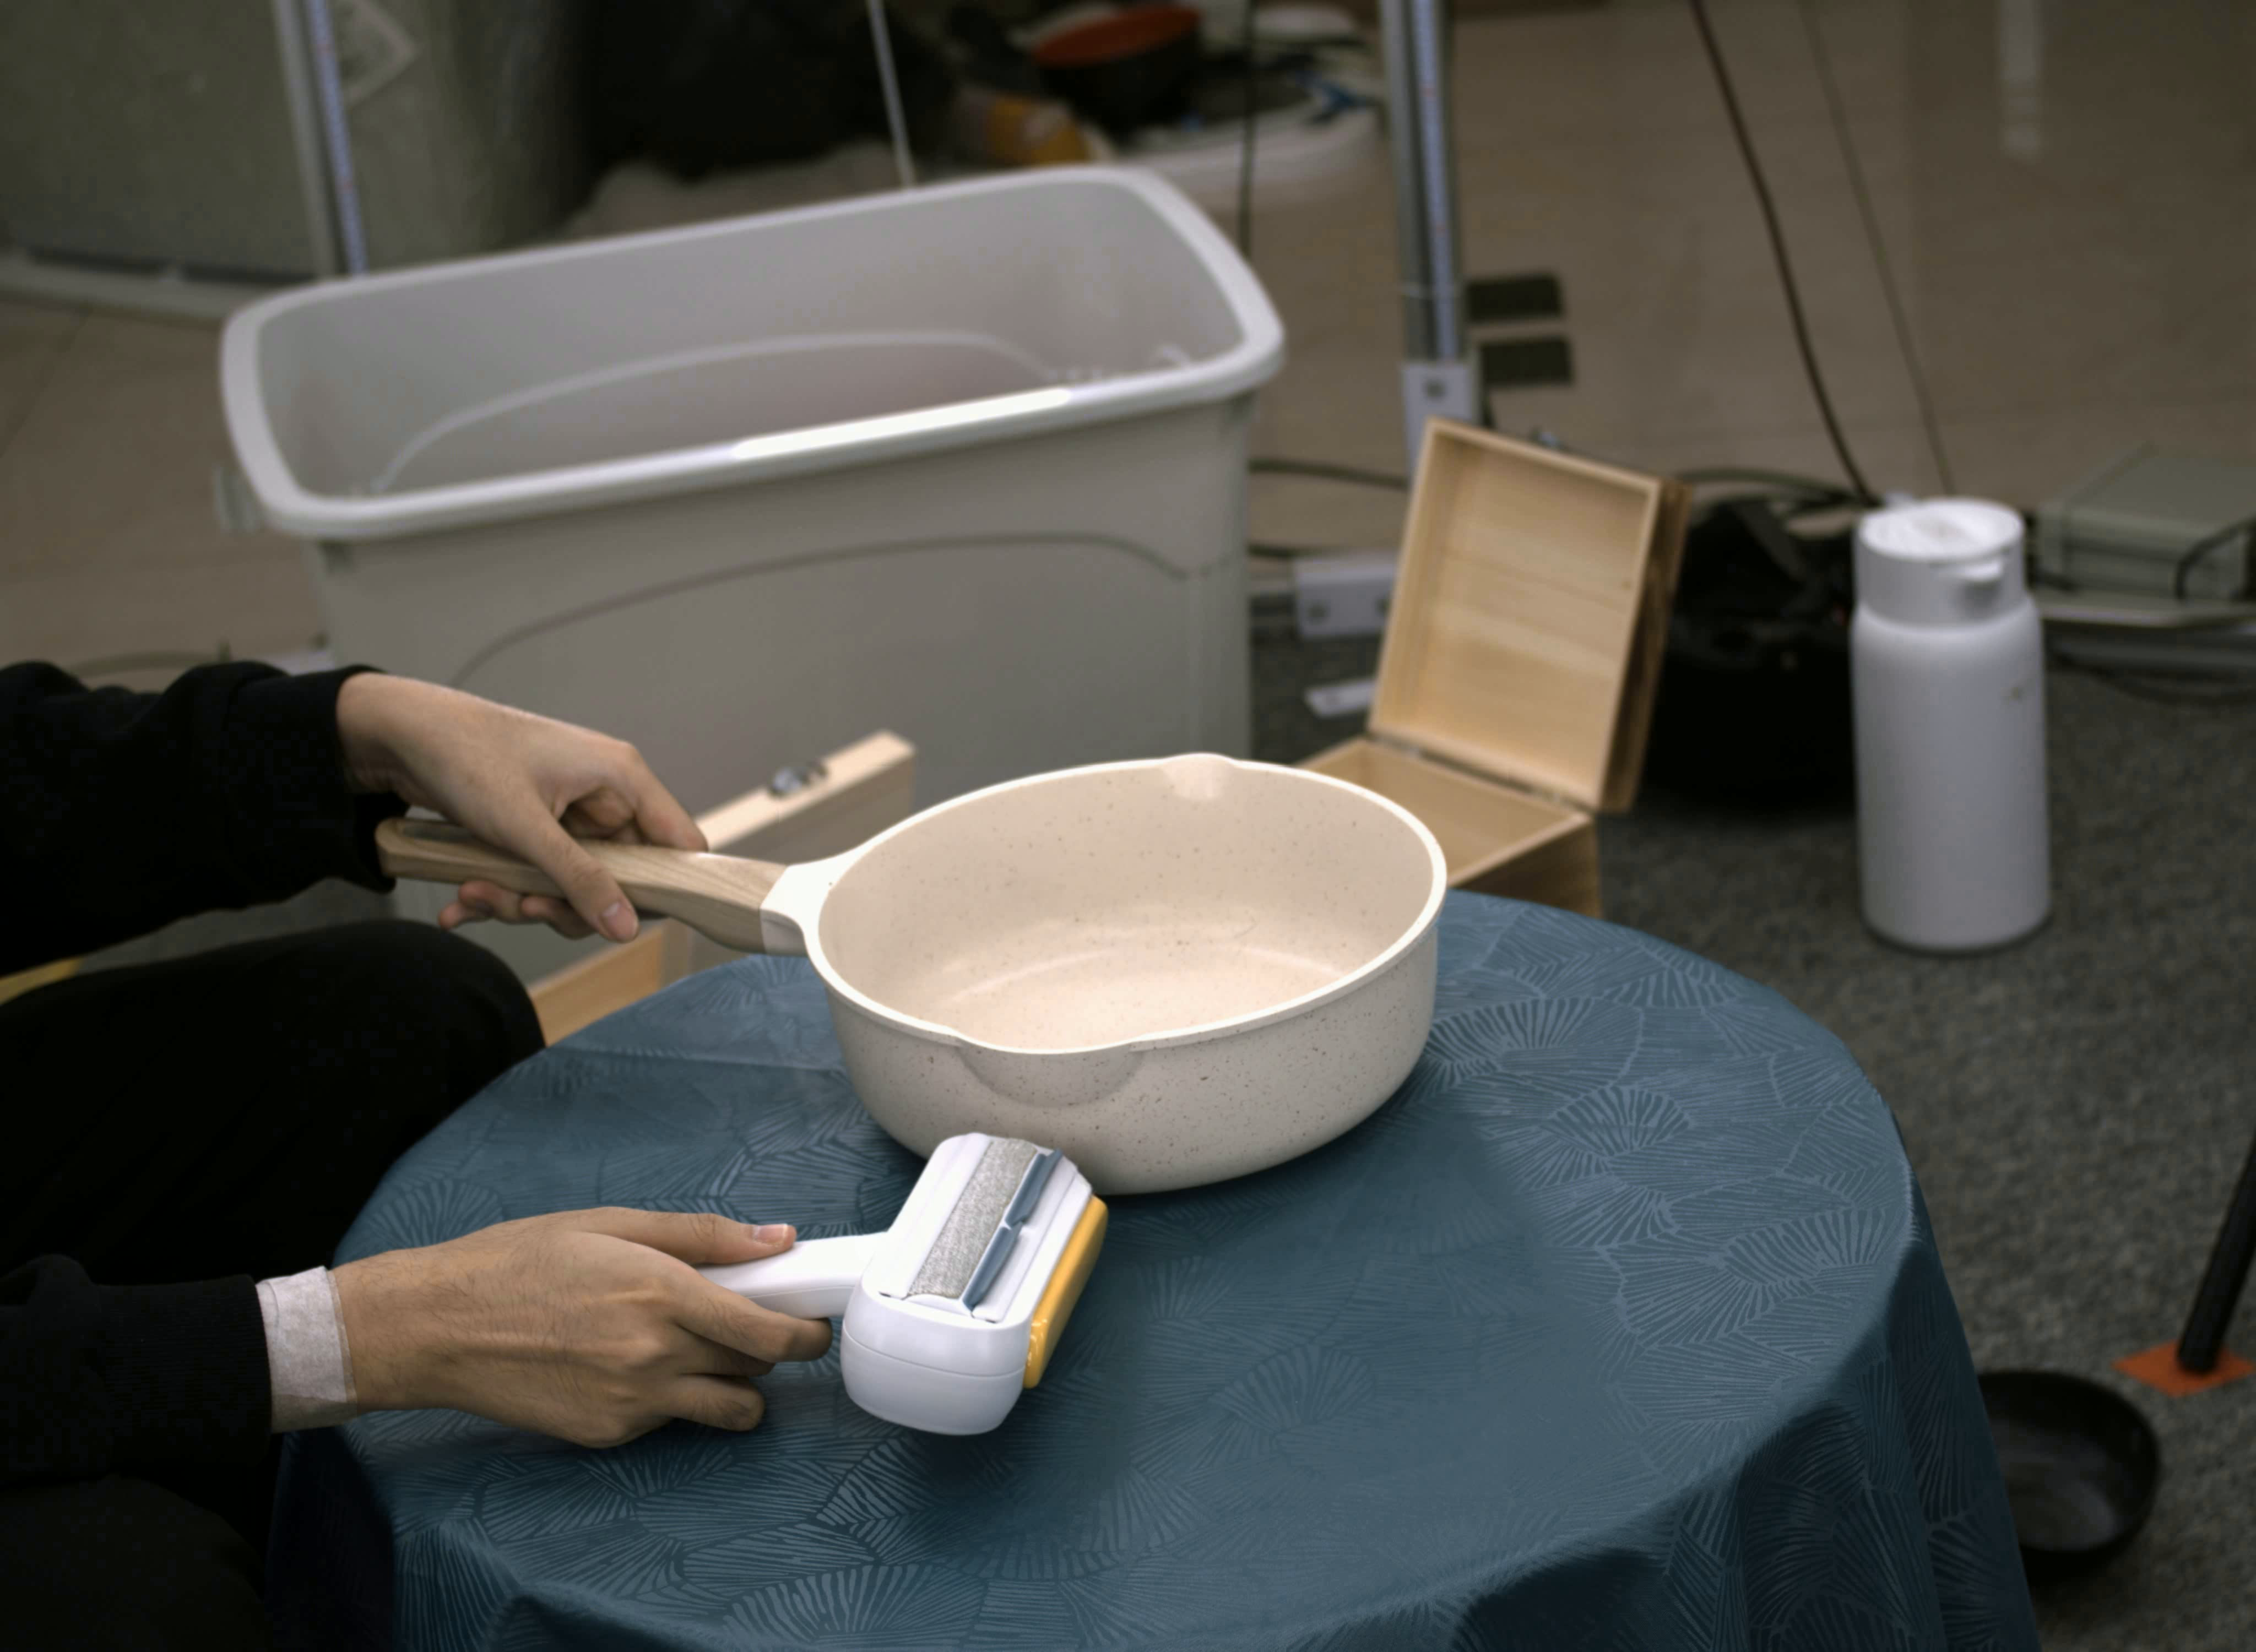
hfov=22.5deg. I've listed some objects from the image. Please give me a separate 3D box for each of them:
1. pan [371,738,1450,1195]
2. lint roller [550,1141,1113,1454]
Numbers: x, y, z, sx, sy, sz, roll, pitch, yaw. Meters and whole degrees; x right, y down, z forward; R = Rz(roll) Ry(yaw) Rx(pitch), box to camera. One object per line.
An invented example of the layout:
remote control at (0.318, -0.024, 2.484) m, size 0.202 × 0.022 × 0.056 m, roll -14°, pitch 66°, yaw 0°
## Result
pan at (-0.086, 0.052, 2.232) m, size 0.434 × 0.104 × 0.259 m, roll 1°, pitch 29°, yaw 15°
lint roller at (-0.114, 0.164, 2.021) m, size 0.192 × 0.075 × 0.190 m, roll 6°, pitch 22°, yaw 11°
